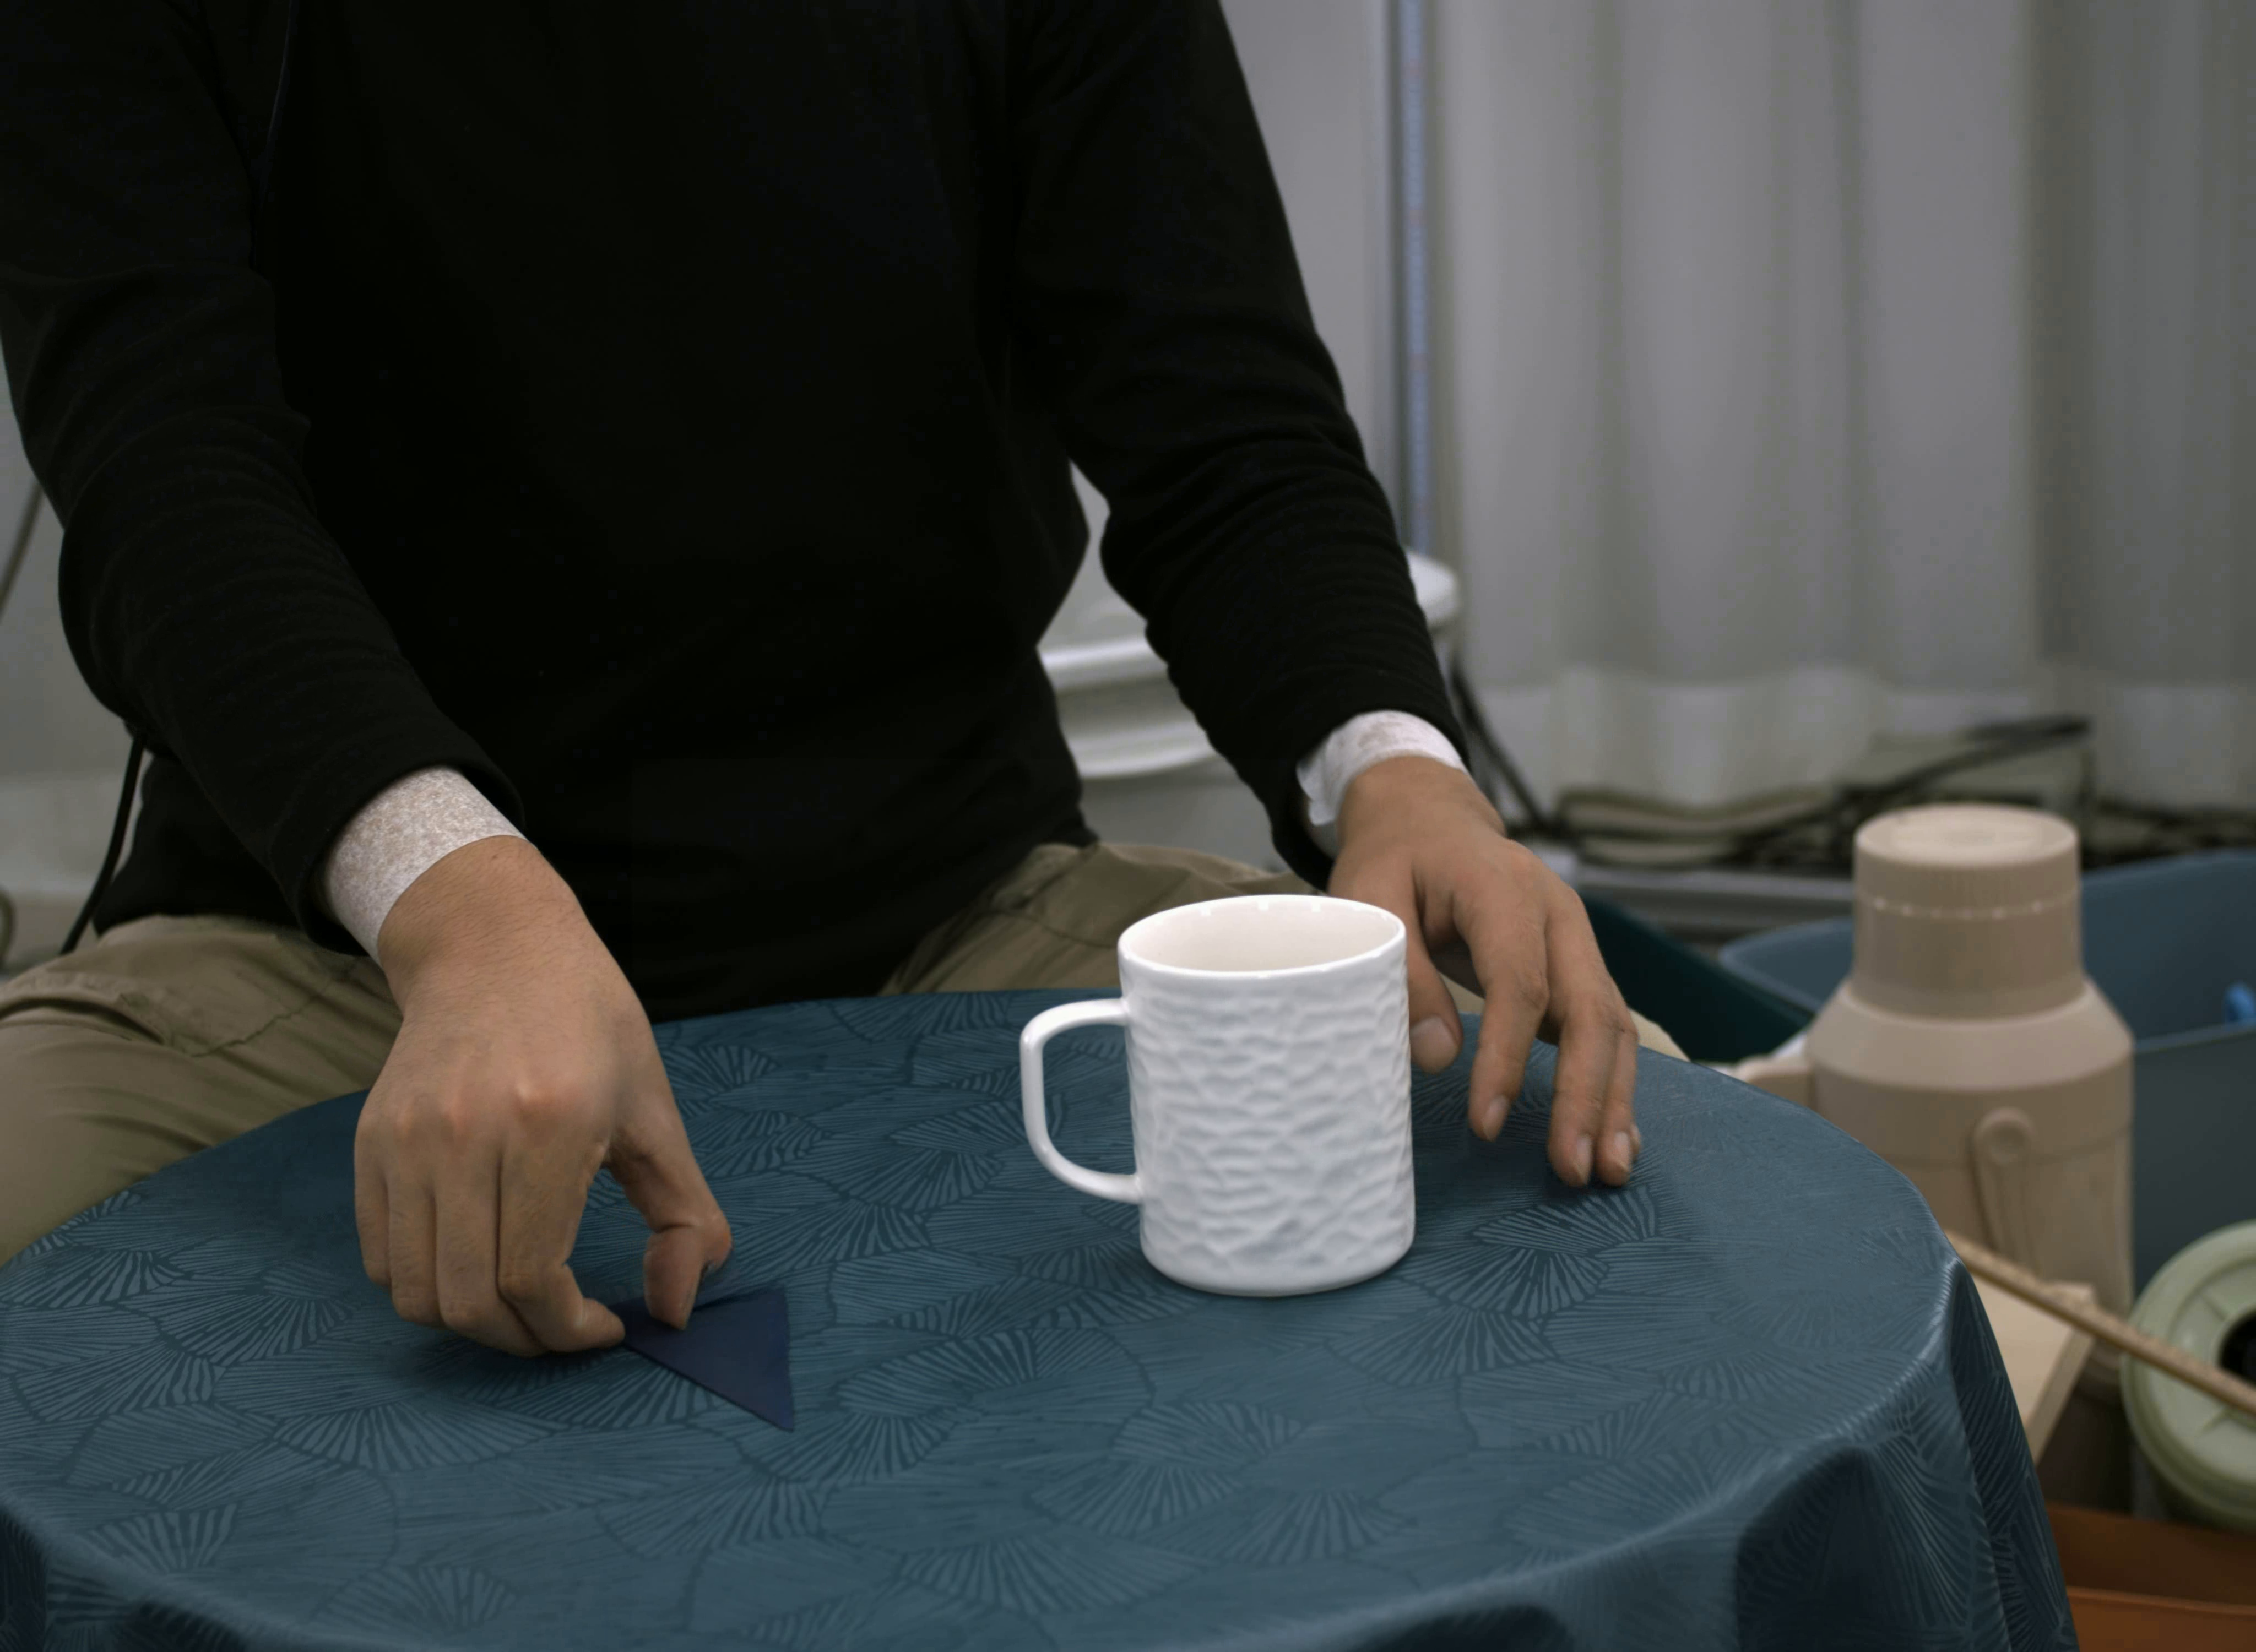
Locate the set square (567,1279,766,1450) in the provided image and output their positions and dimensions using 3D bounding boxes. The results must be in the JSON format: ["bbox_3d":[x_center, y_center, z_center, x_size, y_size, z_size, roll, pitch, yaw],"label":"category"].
[{"bbox_3d":[-0.135,0.155,1.581,0.061,0.006,0.133,-2,16,0],"label":"set square"}]

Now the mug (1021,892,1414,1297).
[{"bbox_3d":[0.027,0.081,1.635,0.118,0.101,0.085,-5,14,-9],"label":"mug"}]
